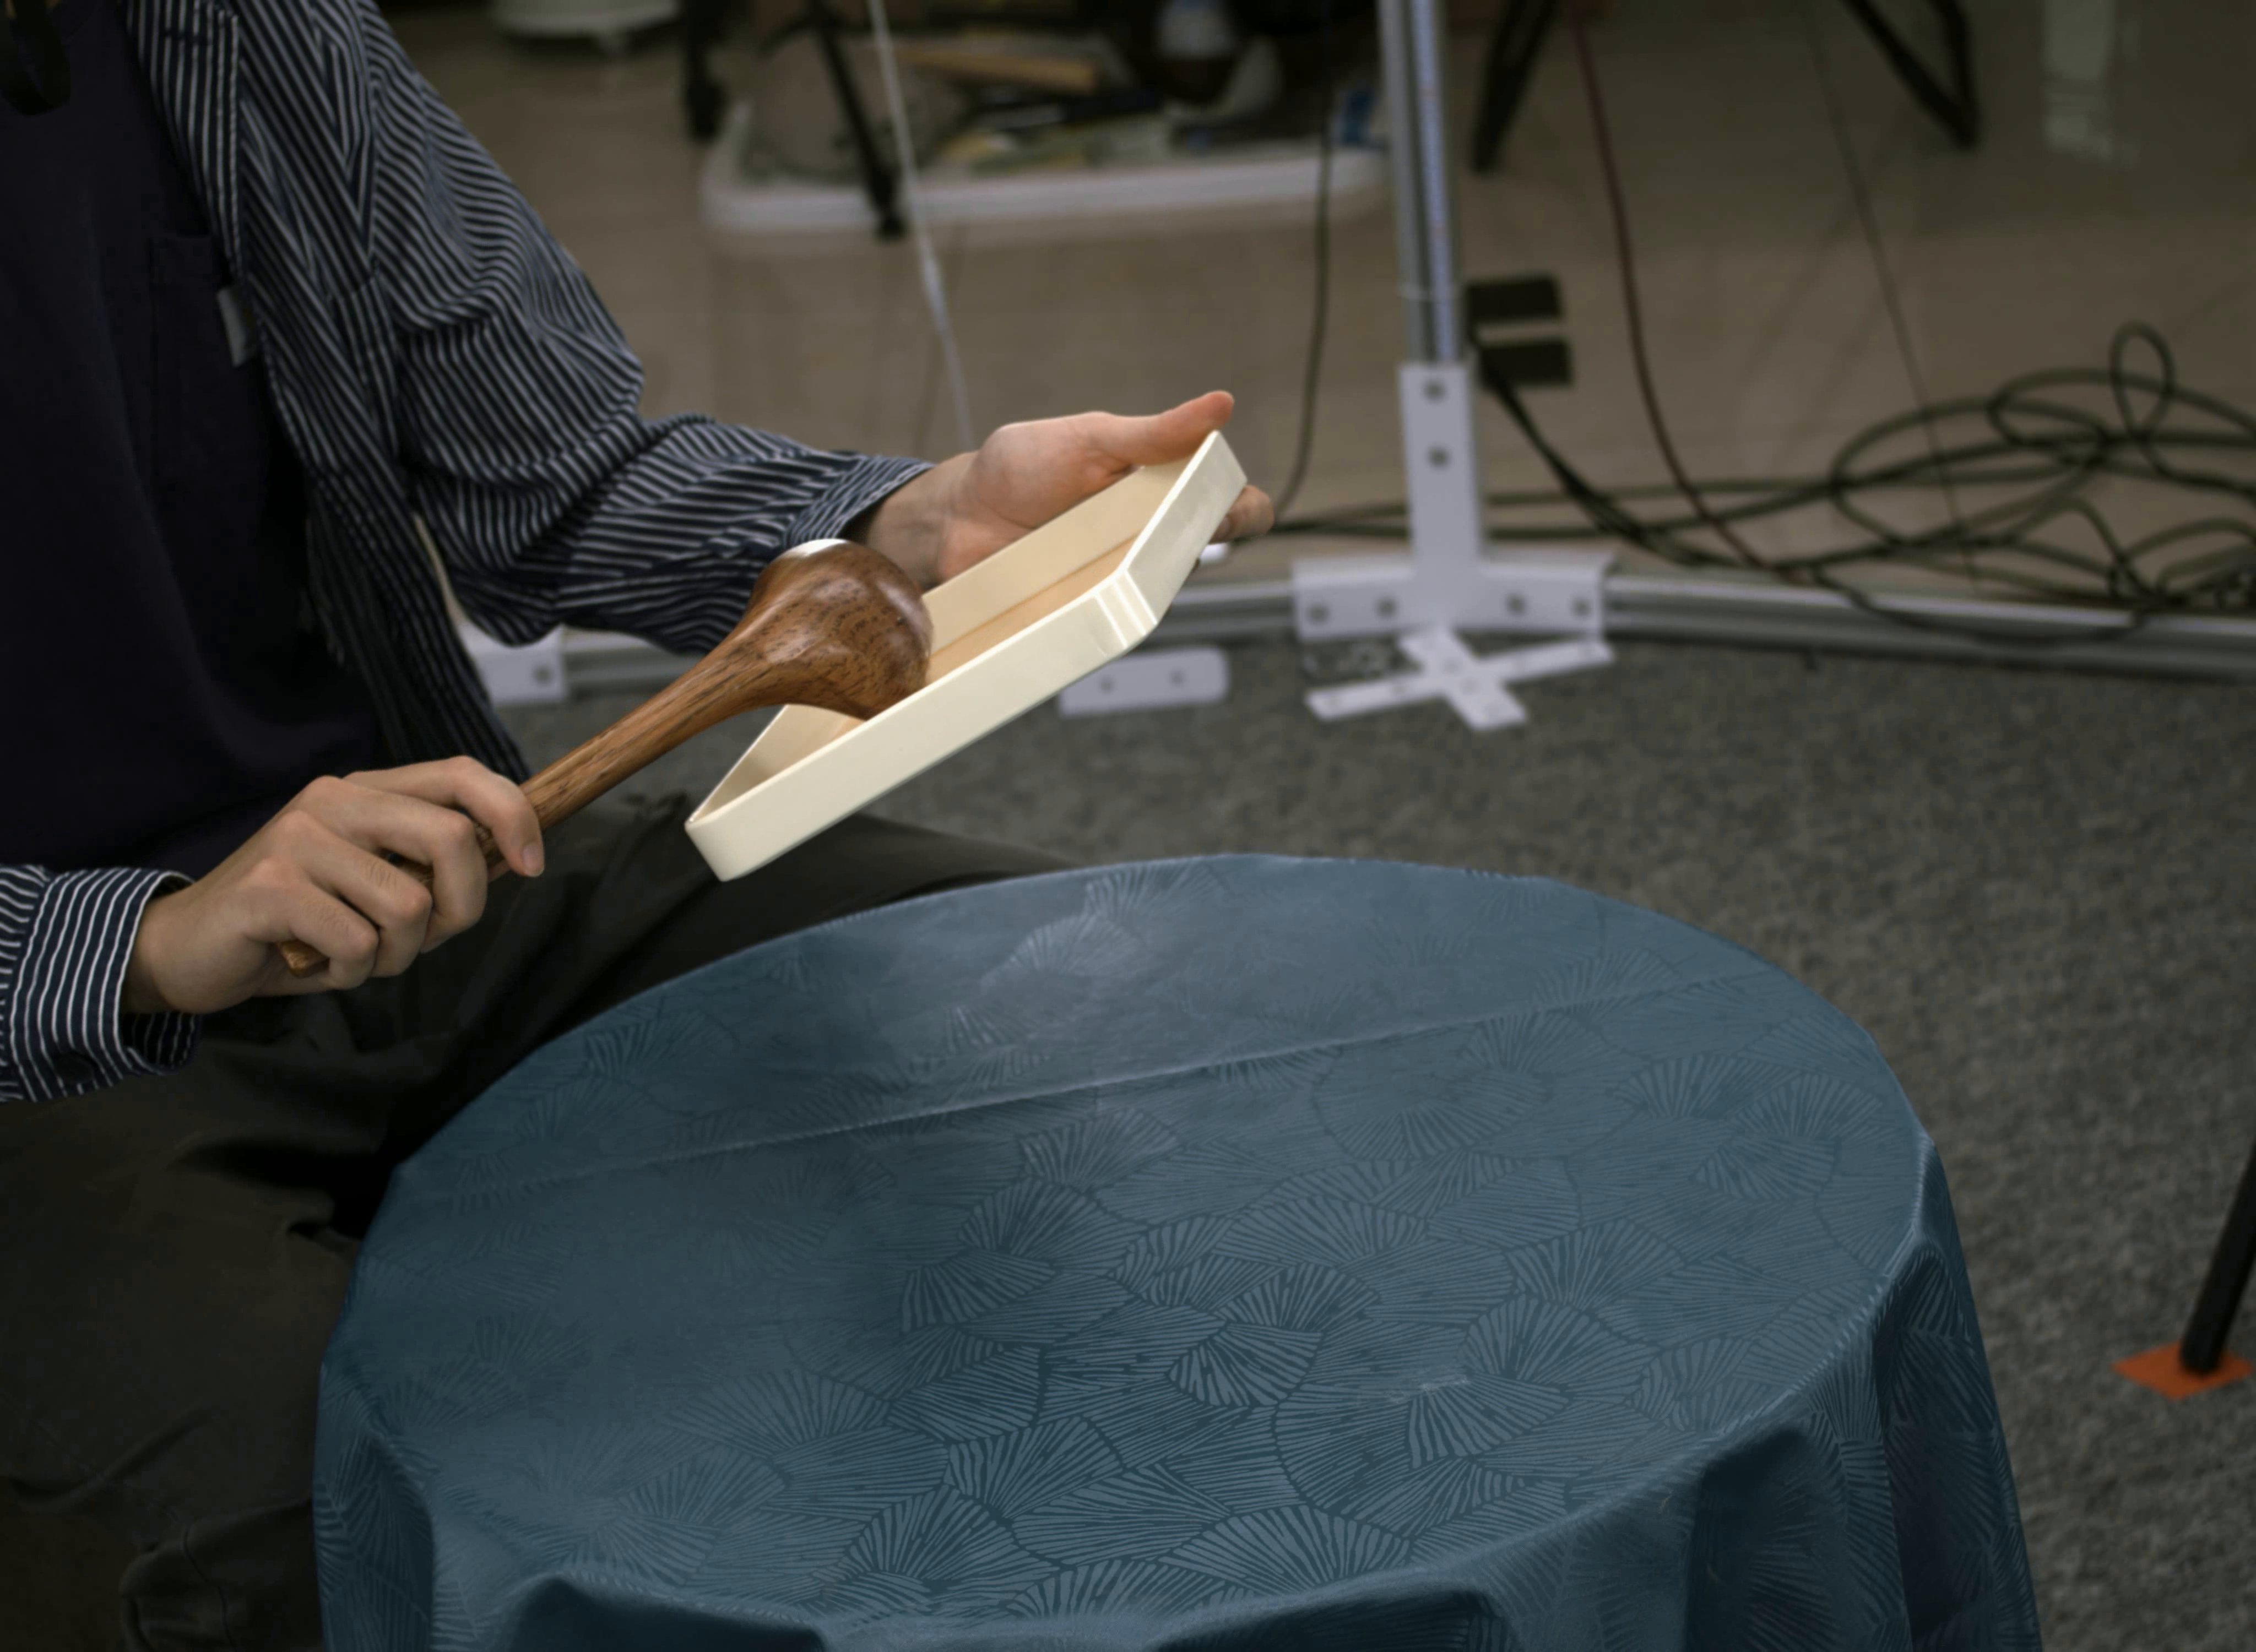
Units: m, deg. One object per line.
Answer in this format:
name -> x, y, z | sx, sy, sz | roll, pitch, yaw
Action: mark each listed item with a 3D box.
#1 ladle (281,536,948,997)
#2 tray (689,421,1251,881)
ladle -> -0.189, -0.015, 2.089 | 0.273, 0.077, 0.081 | -35, 68, -5
tray -> -0.054, -0.070, 2.150 | 0.192, 0.027, 0.297 | -30, 9, 16
